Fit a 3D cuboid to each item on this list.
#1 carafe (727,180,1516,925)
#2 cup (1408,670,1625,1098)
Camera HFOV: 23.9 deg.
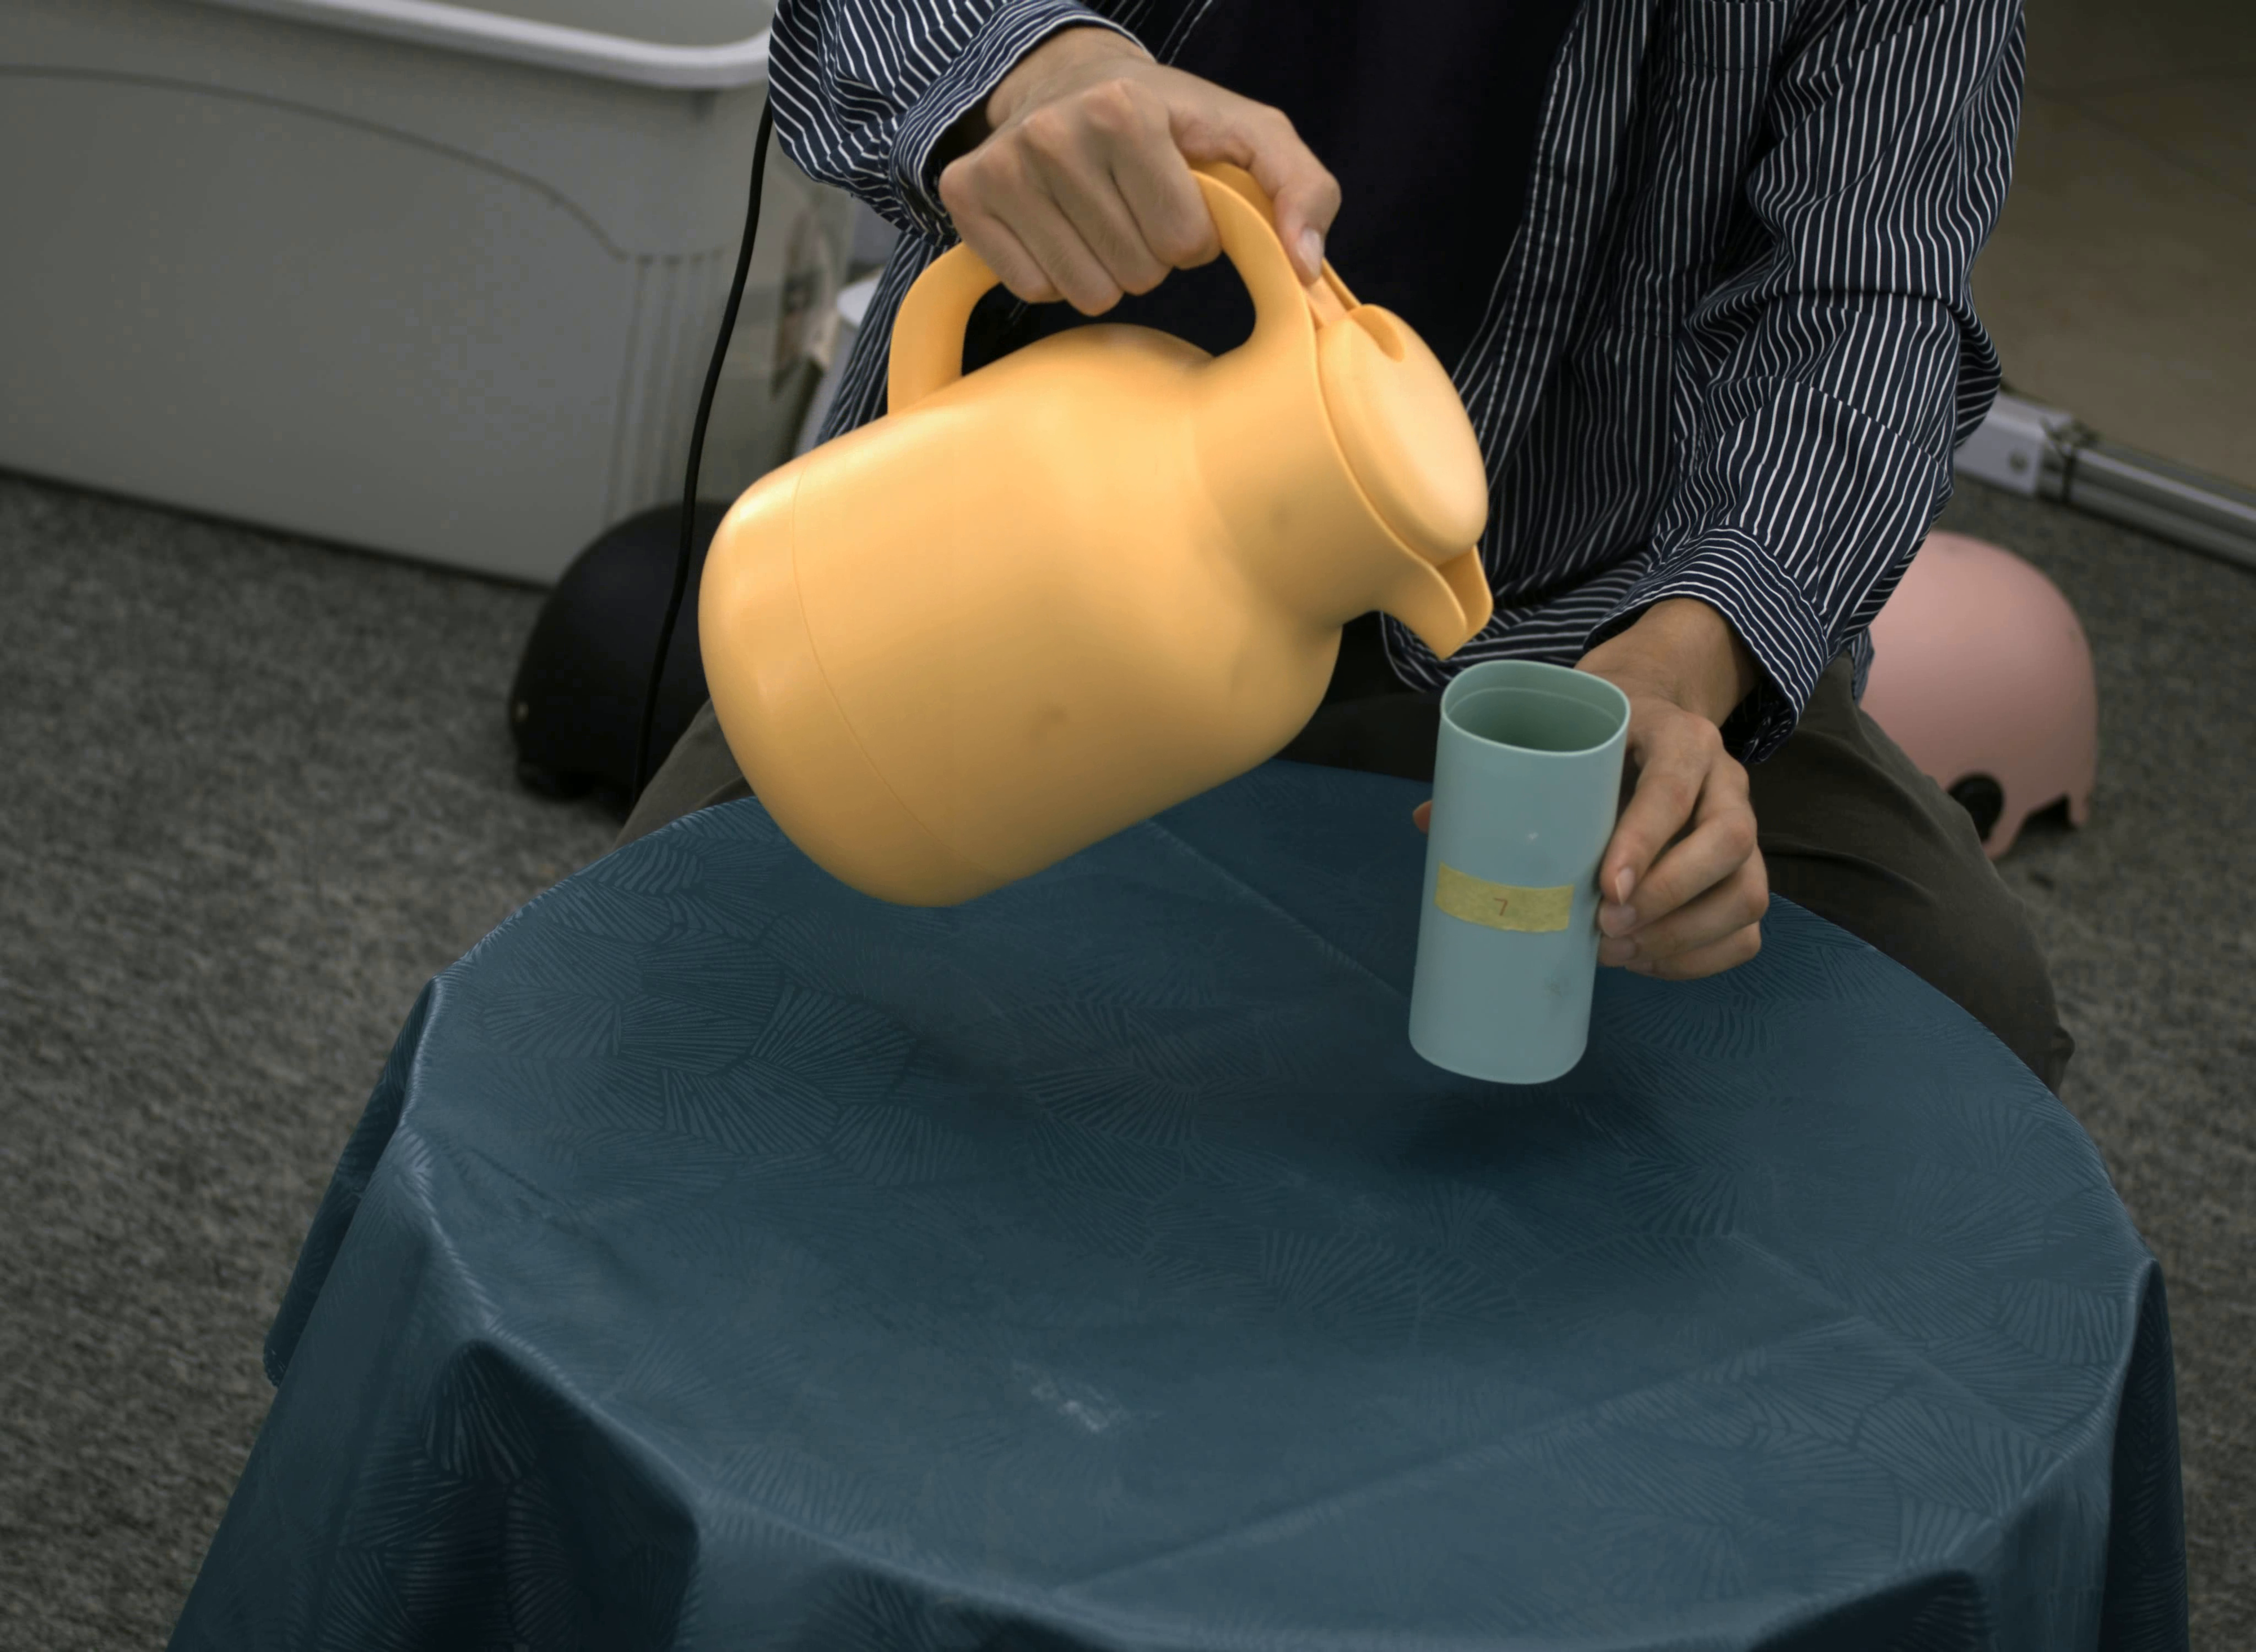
[{"bbox_3d":[-0.006,-0.096,1.793,0.260,0.202,0.163,-24,6,26],"label":"carafe"},{"bbox_3d":[0.131,0.019,1.802,0.066,0.132,0.067,2,29,-2],"label":"cup"}]
